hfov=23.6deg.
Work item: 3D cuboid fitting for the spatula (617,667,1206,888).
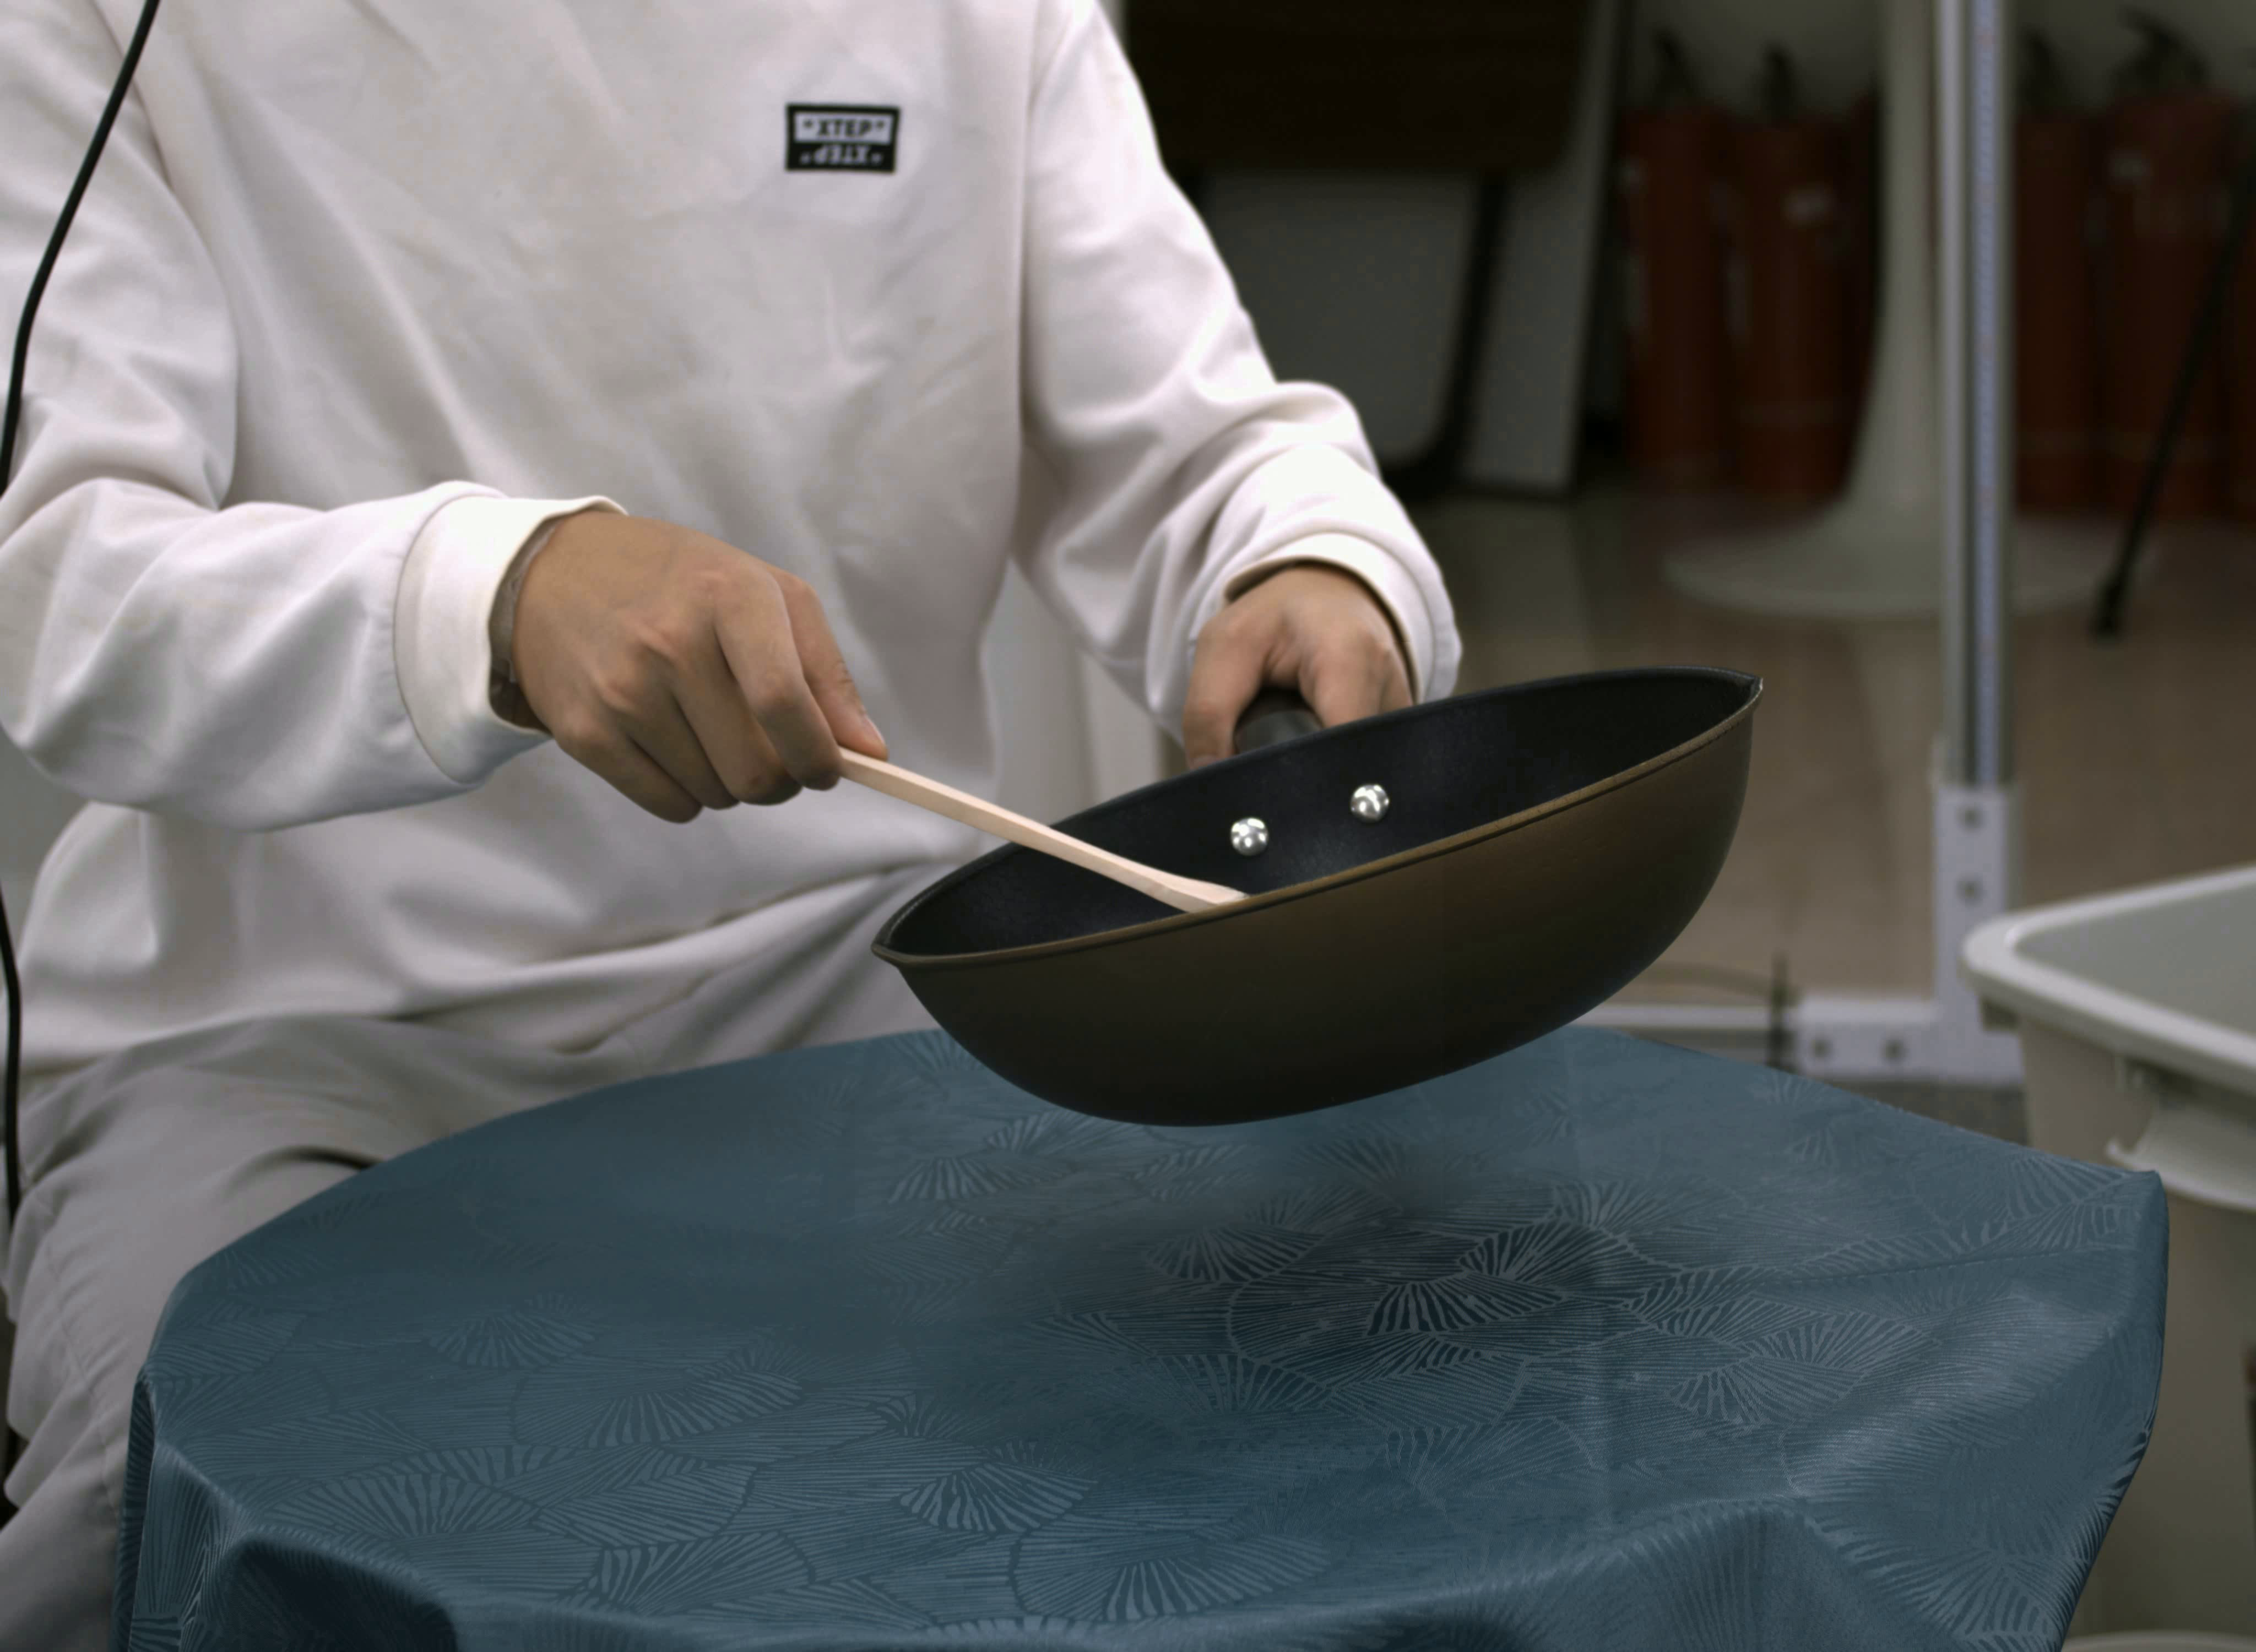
[{"bbox_3d":[-0.036,-0.001,1.702,0.293,0.011,0.071,21,5,21],"label":"spatula"}]

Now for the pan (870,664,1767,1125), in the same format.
[{"bbox_3d":[0.065,0.016,1.742,0.285,0.087,0.464,-16,7,1],"label":"pan"}]
